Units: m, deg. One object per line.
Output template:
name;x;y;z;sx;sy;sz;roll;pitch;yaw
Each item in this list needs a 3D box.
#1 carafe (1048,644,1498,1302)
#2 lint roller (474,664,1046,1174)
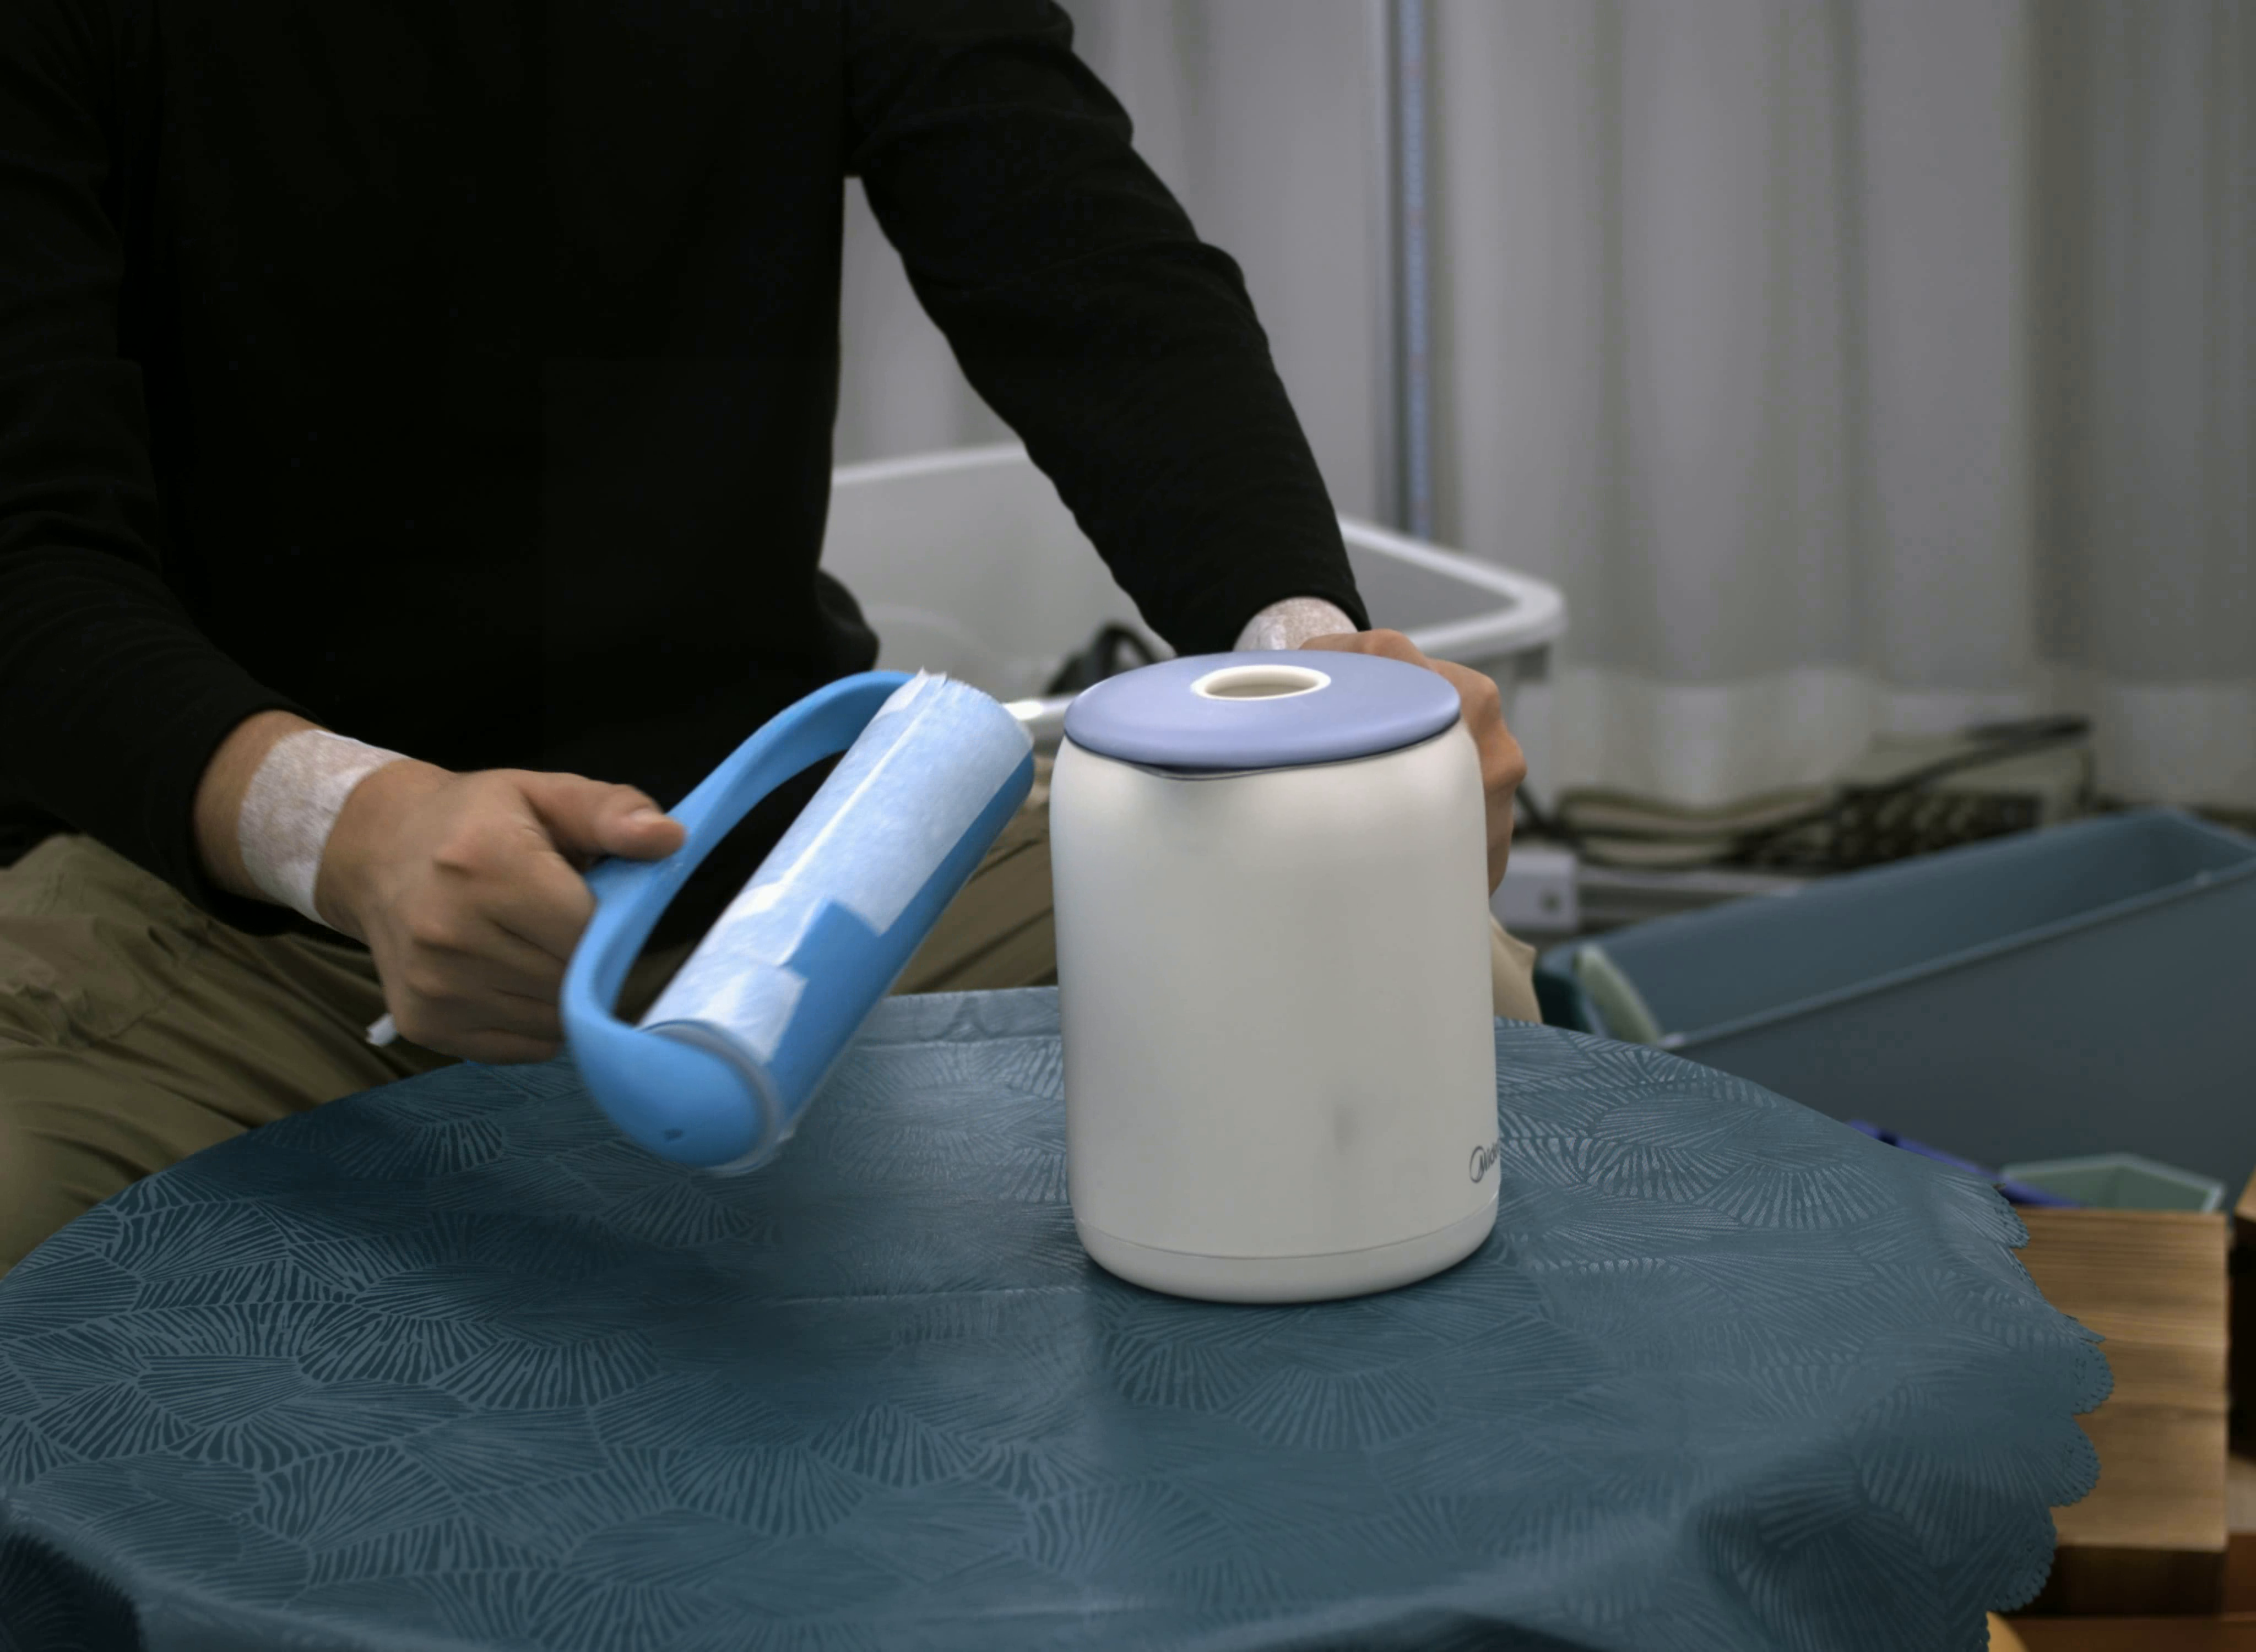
carafe;0.052;0.037;1.664;0.132;0.182;0.191;3;13;19
lint roller;-0.135;0.035;1.666;0.180;0.067;0.231;-10;30;26
